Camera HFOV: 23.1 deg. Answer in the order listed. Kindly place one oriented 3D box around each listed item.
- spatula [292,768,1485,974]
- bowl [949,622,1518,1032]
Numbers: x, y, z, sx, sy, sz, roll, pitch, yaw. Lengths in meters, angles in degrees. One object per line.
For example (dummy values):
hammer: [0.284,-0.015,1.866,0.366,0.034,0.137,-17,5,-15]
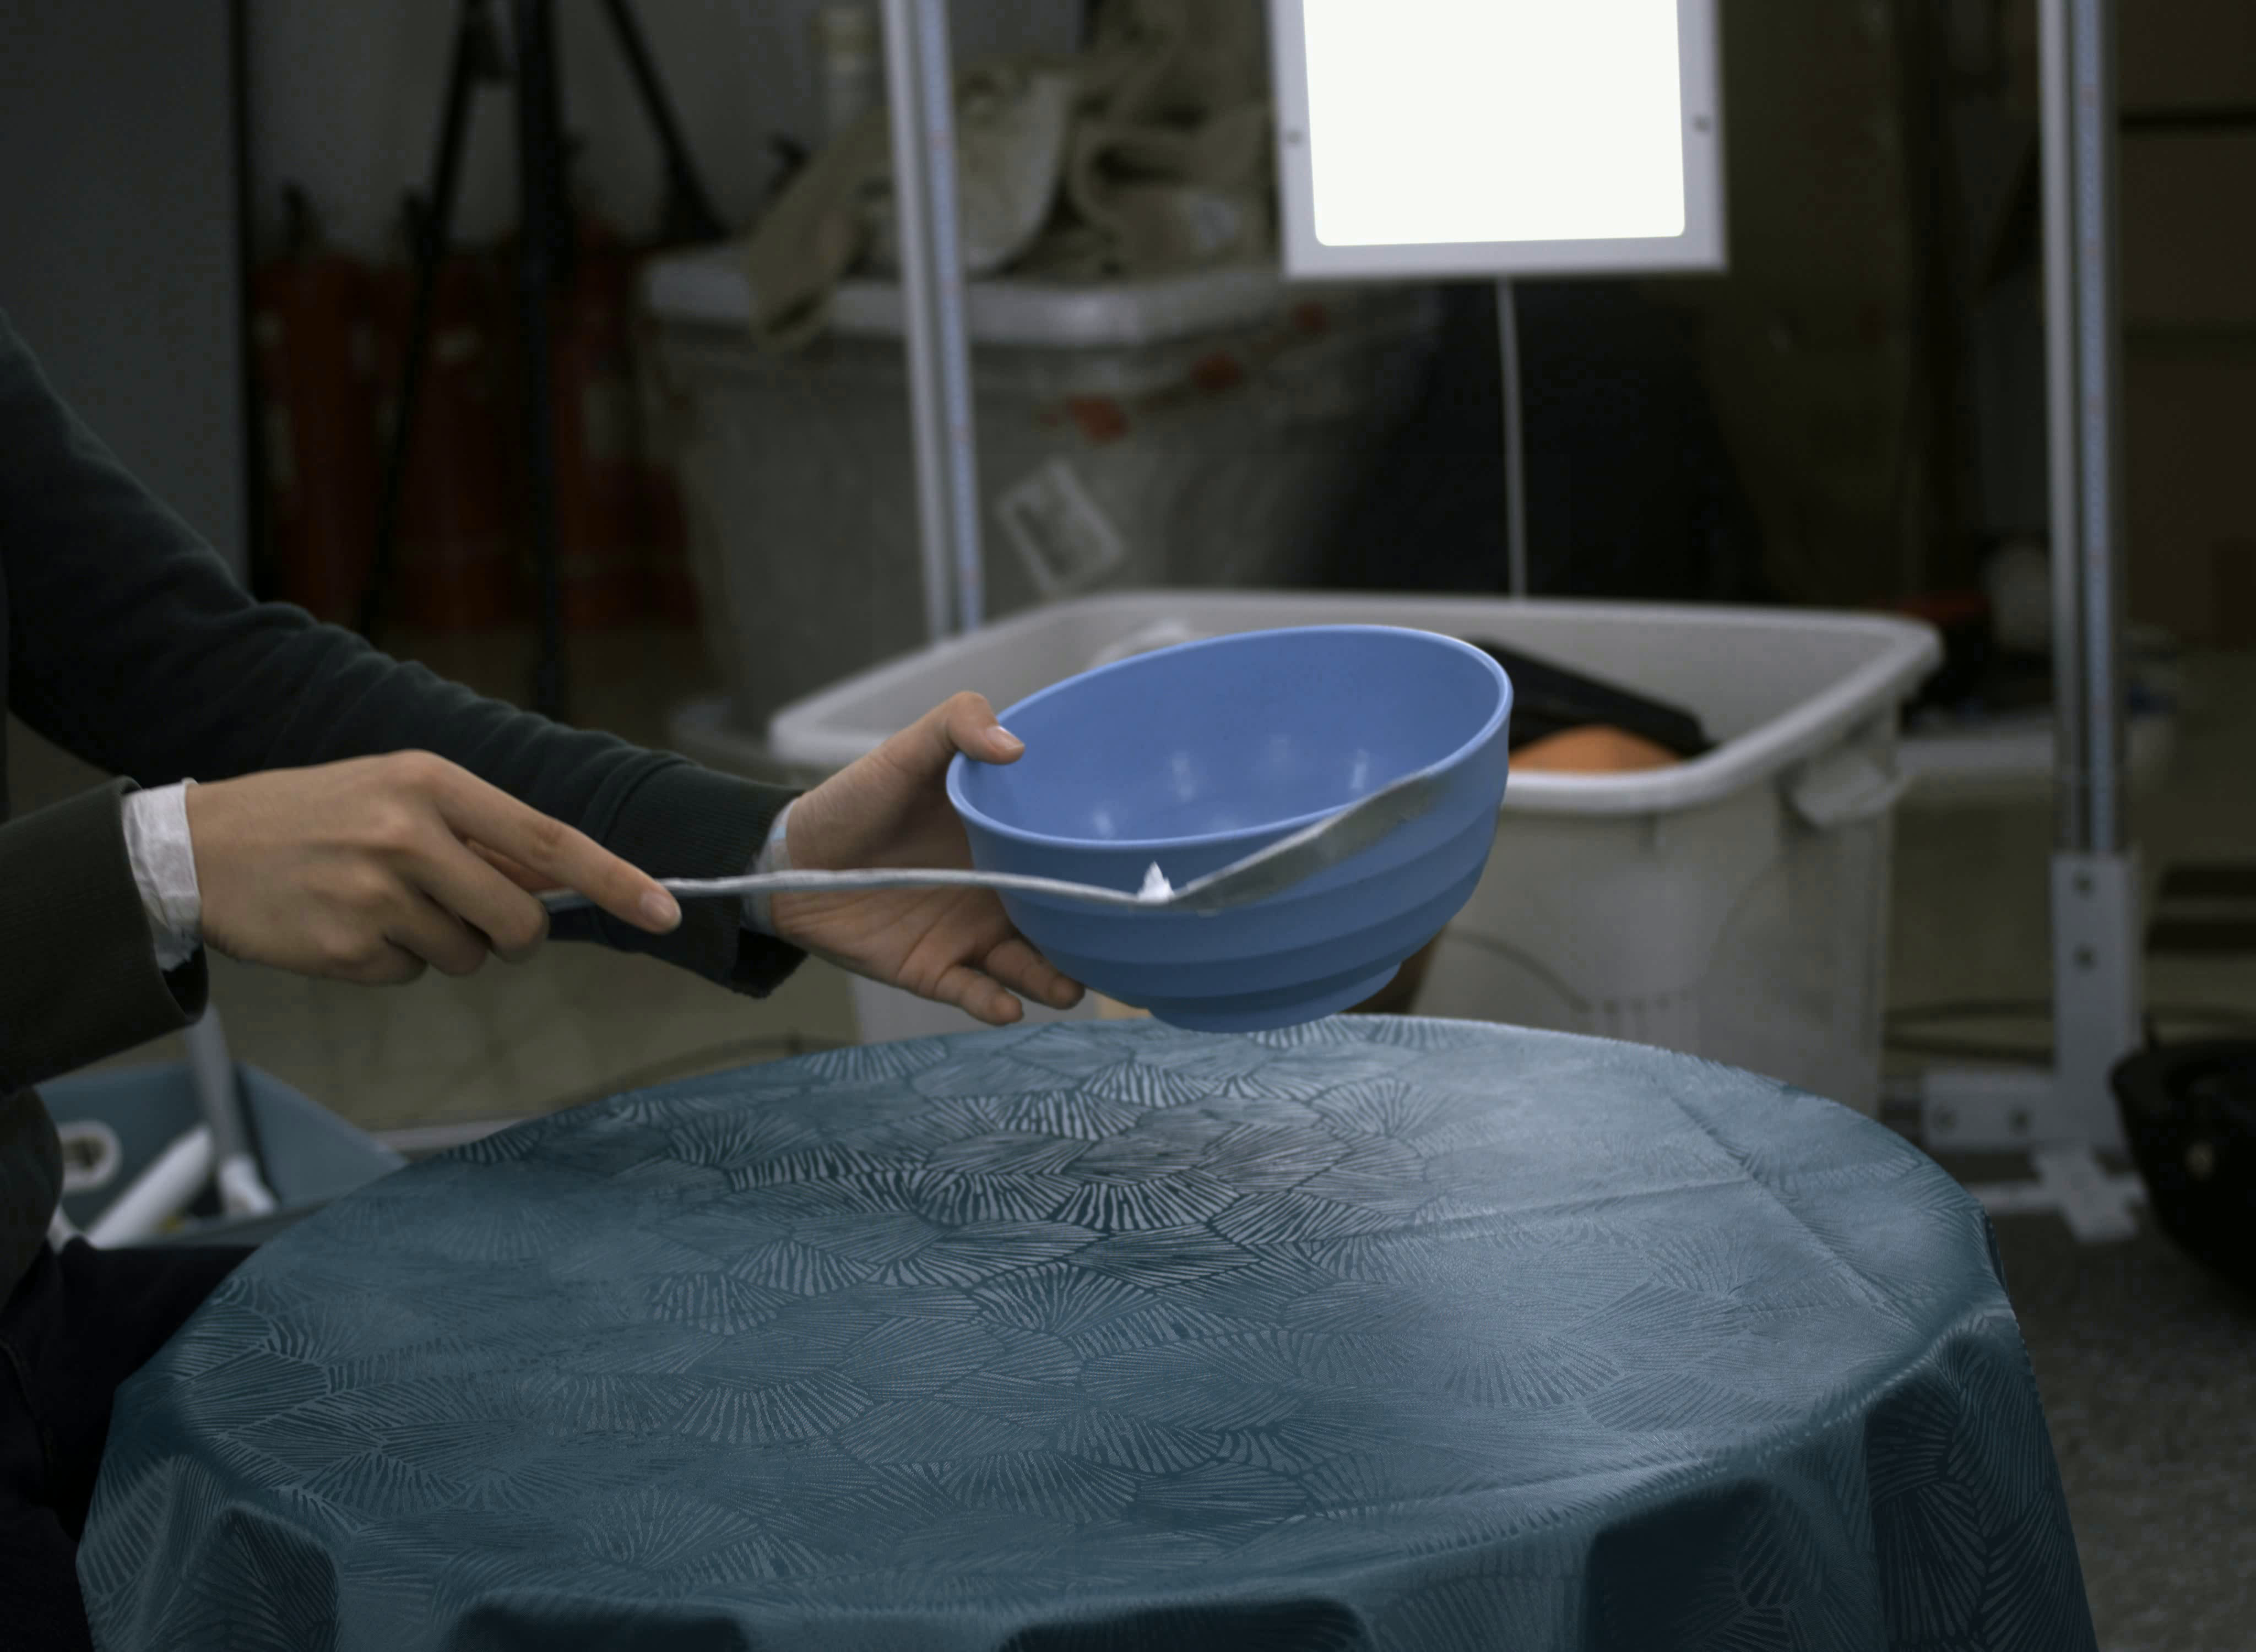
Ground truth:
spatula: [-0.074,0.014,1.644,0.366,0.045,0.098,-3,-1,6]
bowl: [0.042,0.009,1.890,0.196,0.095,0.196,-9,21,2]
